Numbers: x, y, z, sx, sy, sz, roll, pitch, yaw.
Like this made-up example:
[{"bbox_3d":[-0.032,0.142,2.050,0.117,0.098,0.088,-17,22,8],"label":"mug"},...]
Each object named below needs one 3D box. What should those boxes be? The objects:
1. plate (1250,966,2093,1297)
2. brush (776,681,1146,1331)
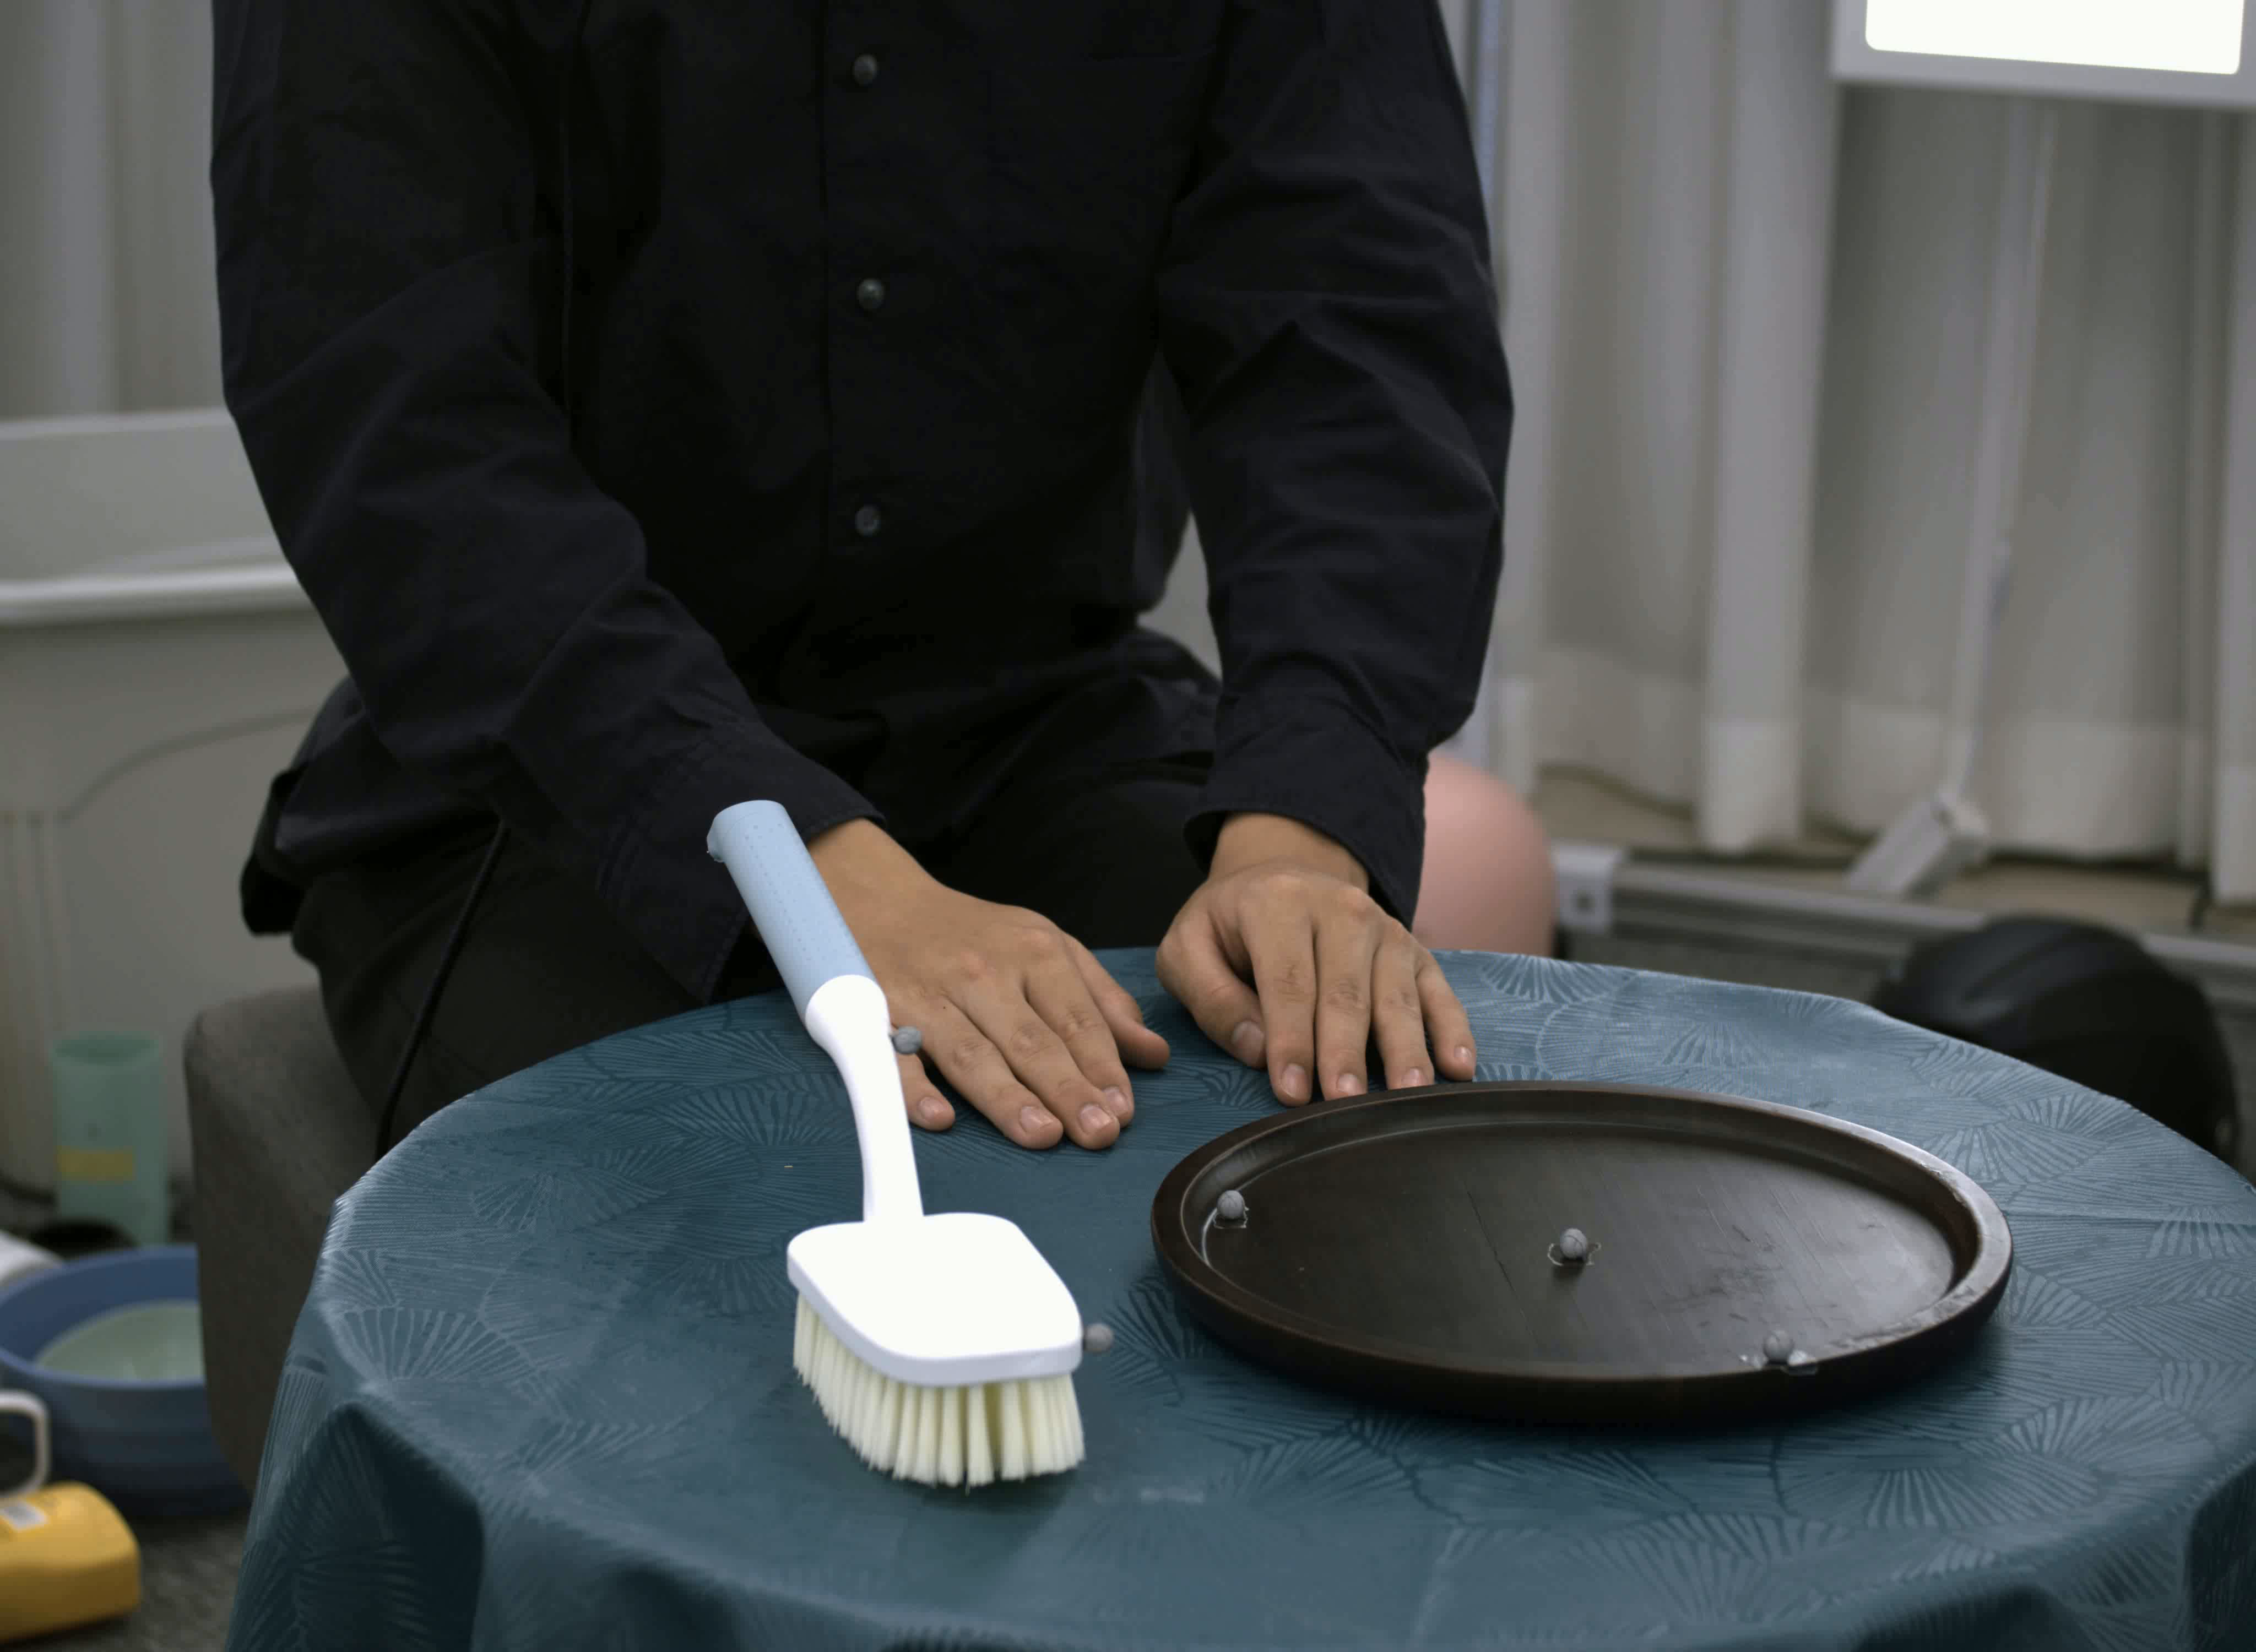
[{"bbox_3d":[0.163,0.089,1.584,0.254,0.029,0.253,-1,16,1],"label":"plate"},{"bbox_3d":[-0.056,0.064,1.556,0.084,0.084,0.321,33,13,-30],"label":"brush"}]
